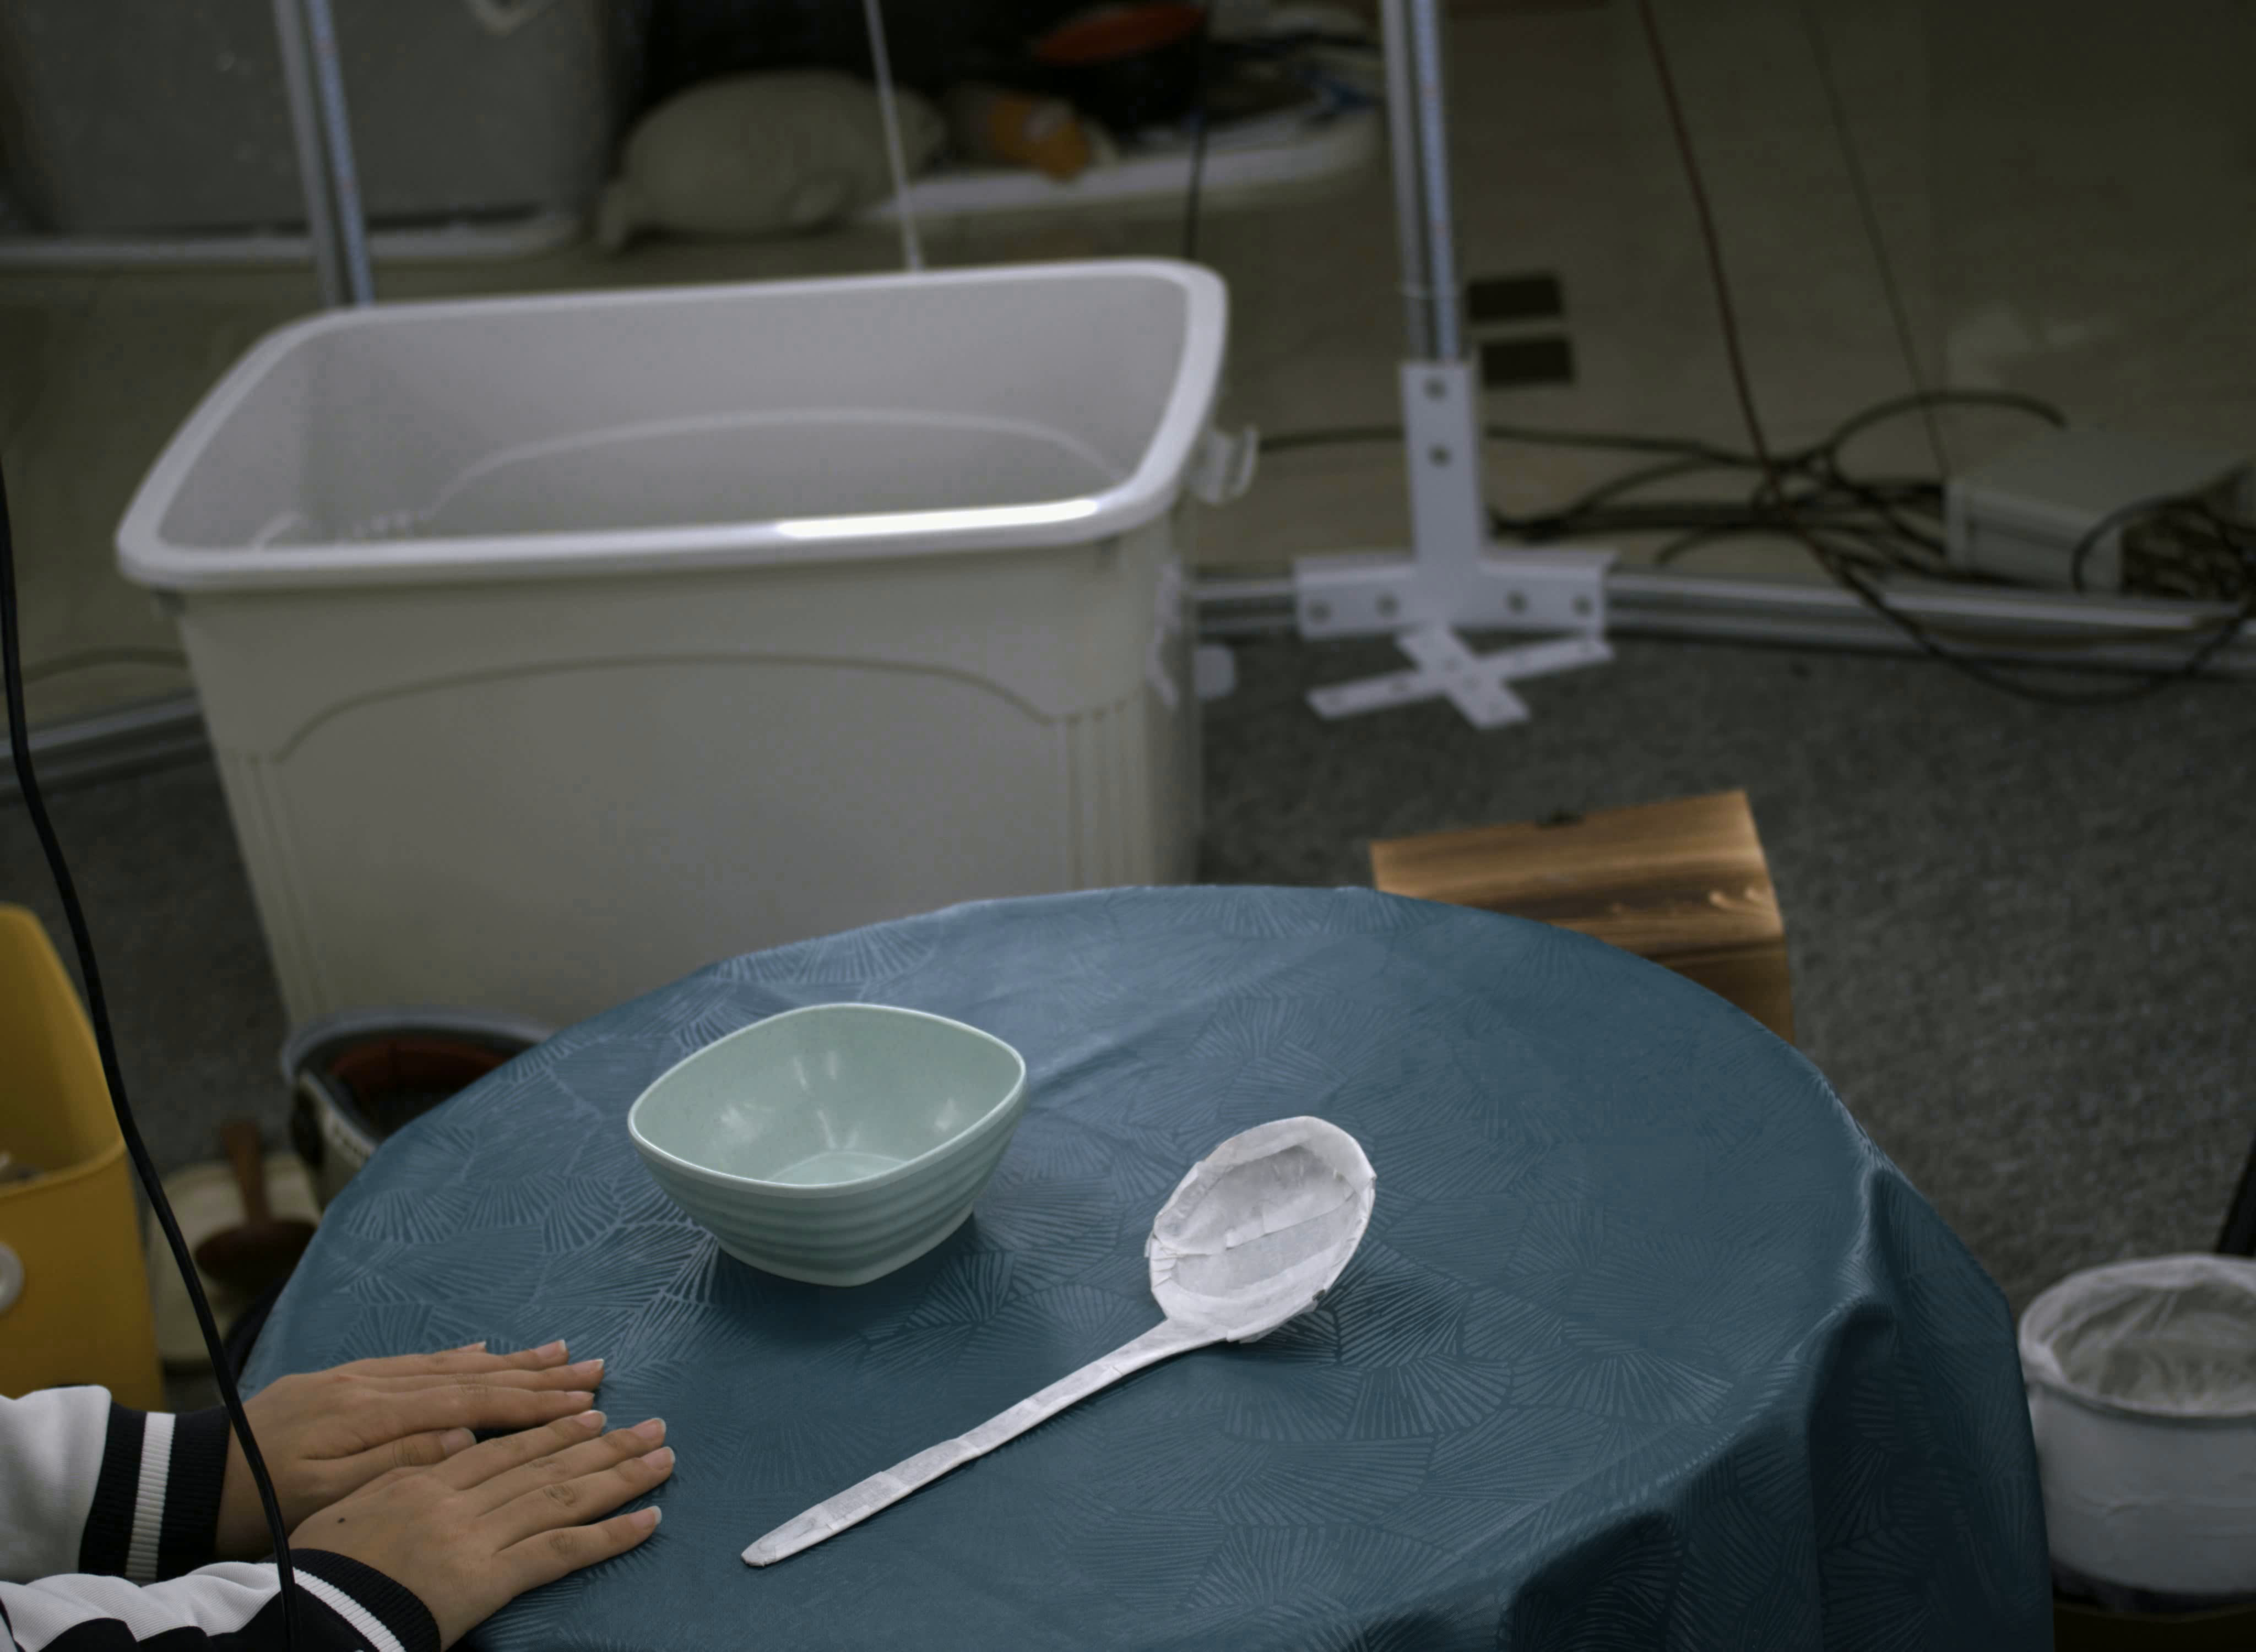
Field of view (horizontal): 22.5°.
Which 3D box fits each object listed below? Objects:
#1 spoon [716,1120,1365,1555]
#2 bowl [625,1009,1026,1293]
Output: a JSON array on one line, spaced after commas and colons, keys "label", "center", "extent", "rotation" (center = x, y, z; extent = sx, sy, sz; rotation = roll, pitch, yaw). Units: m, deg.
[{"label": "spoon", "center": [-0.035, 0.178, 2.006], "extent": [0.275, 0.060, 0.100], "rotation": [-22, 24, -30]}, {"label": "bowl", "center": [-0.111, 0.128, 2.136], "extent": [0.151, 0.059, 0.149], "rotation": [-5, 25, 2]}]
